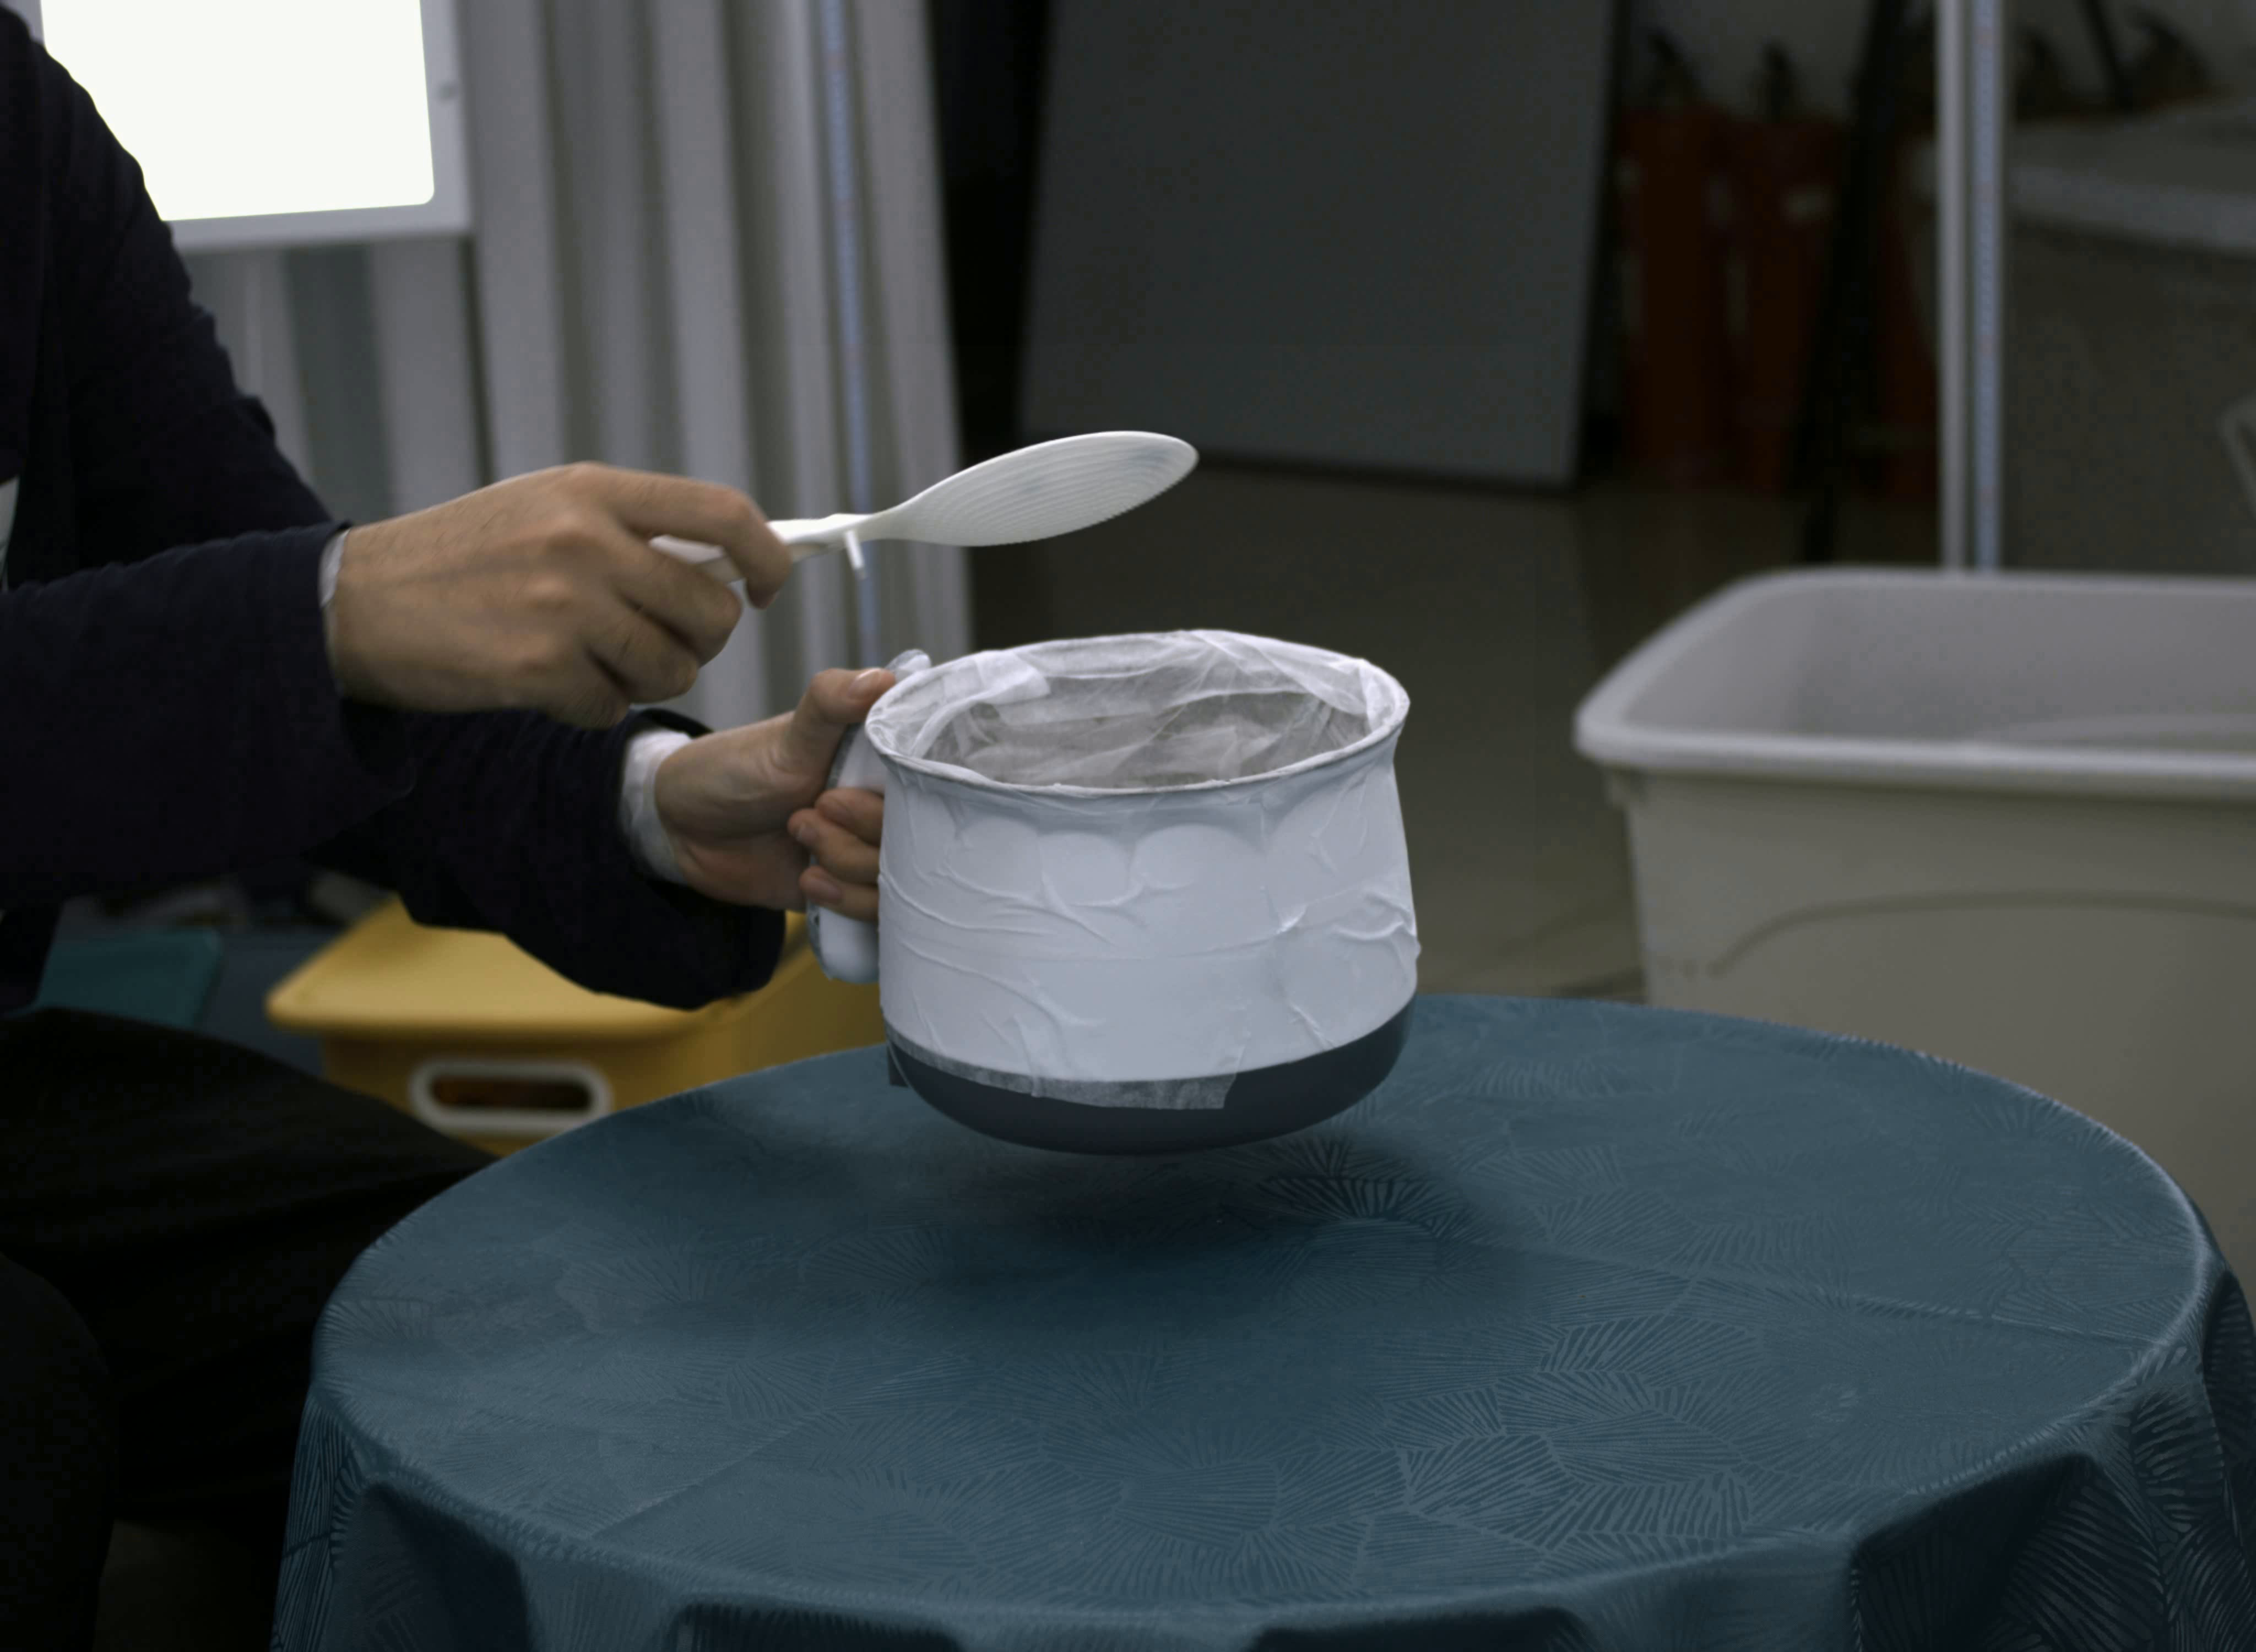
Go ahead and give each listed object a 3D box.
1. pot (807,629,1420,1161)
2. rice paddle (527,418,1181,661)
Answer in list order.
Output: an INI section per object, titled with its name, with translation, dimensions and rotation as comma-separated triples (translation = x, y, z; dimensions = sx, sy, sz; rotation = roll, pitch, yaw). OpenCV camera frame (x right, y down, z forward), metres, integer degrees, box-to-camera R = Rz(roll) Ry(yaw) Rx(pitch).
[pot]
translation = -0.015, 0.016, 1.770
dimensions = 0.235, 0.138, 0.175
rotation = 12, 20, 38
[rice paddle]
translation = -0.082, -0.093, 1.645
dimensions = 0.203, 0.030, 0.068
rotation = -16, -16, 2
